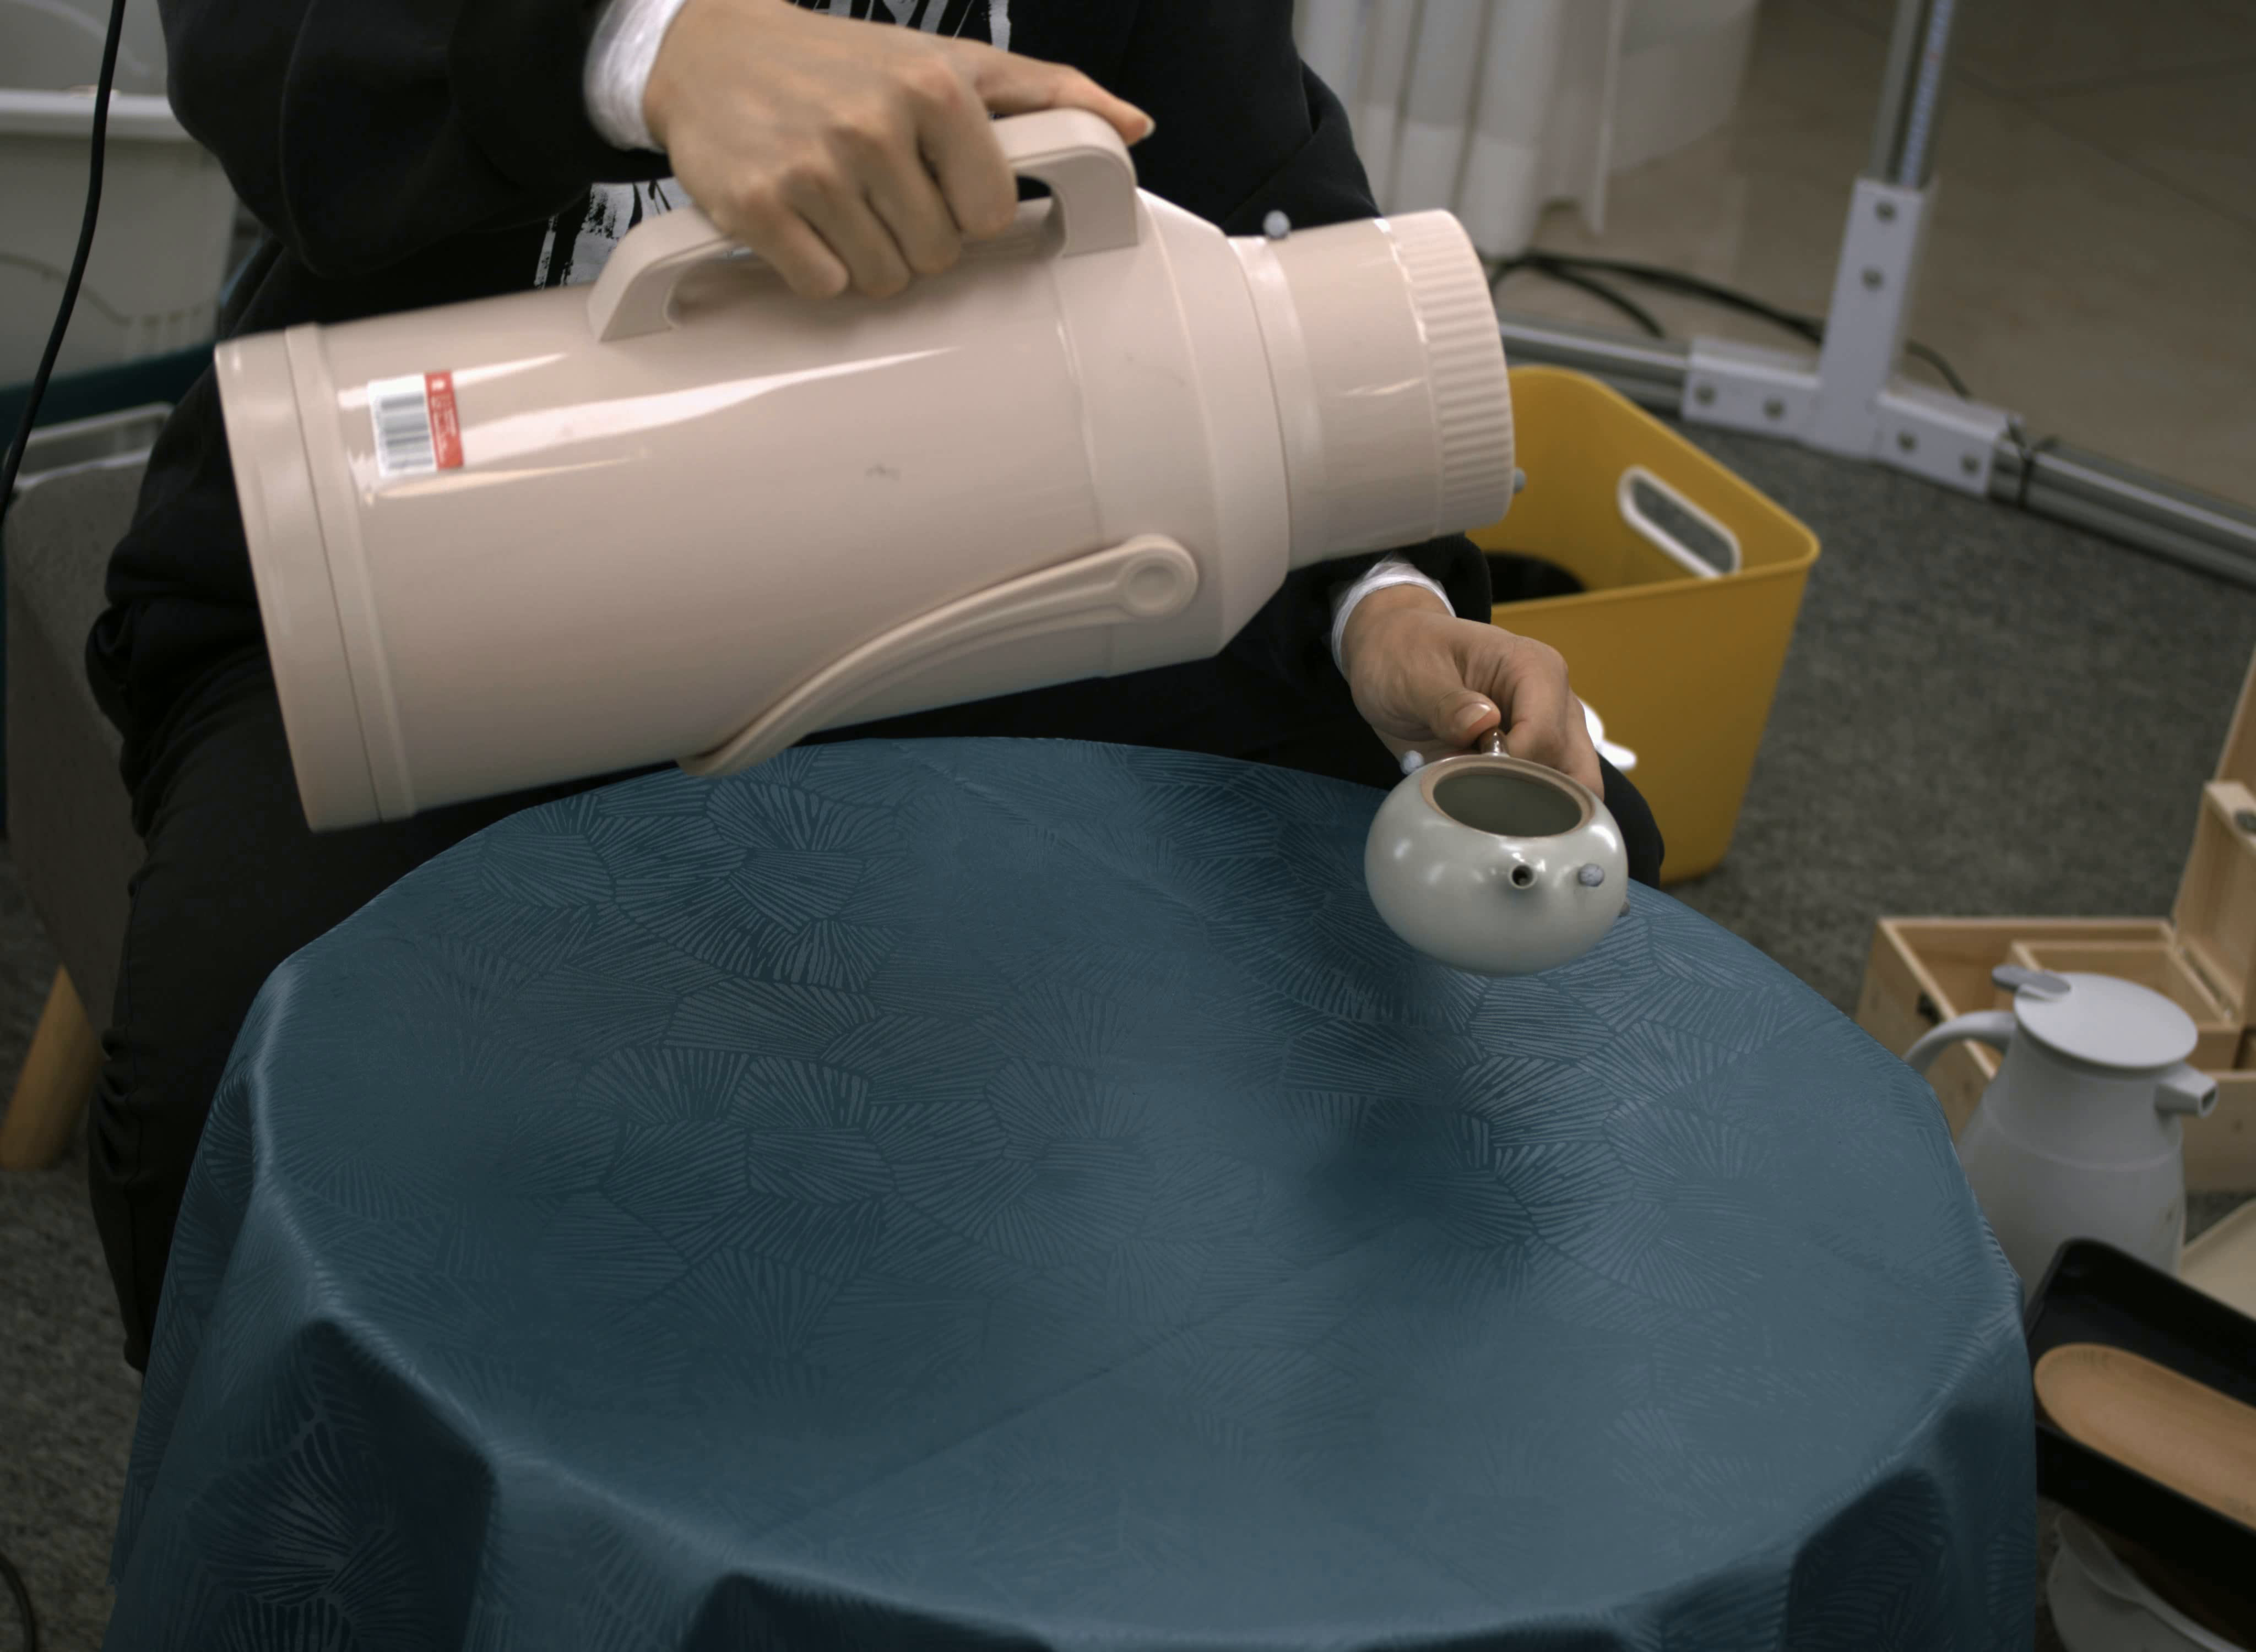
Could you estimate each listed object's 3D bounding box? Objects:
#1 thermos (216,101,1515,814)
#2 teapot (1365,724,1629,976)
[{"bbox_3d":[-0.084,-0.127,1.712,0.405,0.206,0.177,-9,39,-5],"label":"thermos"},{"bbox_3d":[0.127,0.009,1.856,0.091,0.059,0.129,1,28,-5],"label":"teapot"}]
